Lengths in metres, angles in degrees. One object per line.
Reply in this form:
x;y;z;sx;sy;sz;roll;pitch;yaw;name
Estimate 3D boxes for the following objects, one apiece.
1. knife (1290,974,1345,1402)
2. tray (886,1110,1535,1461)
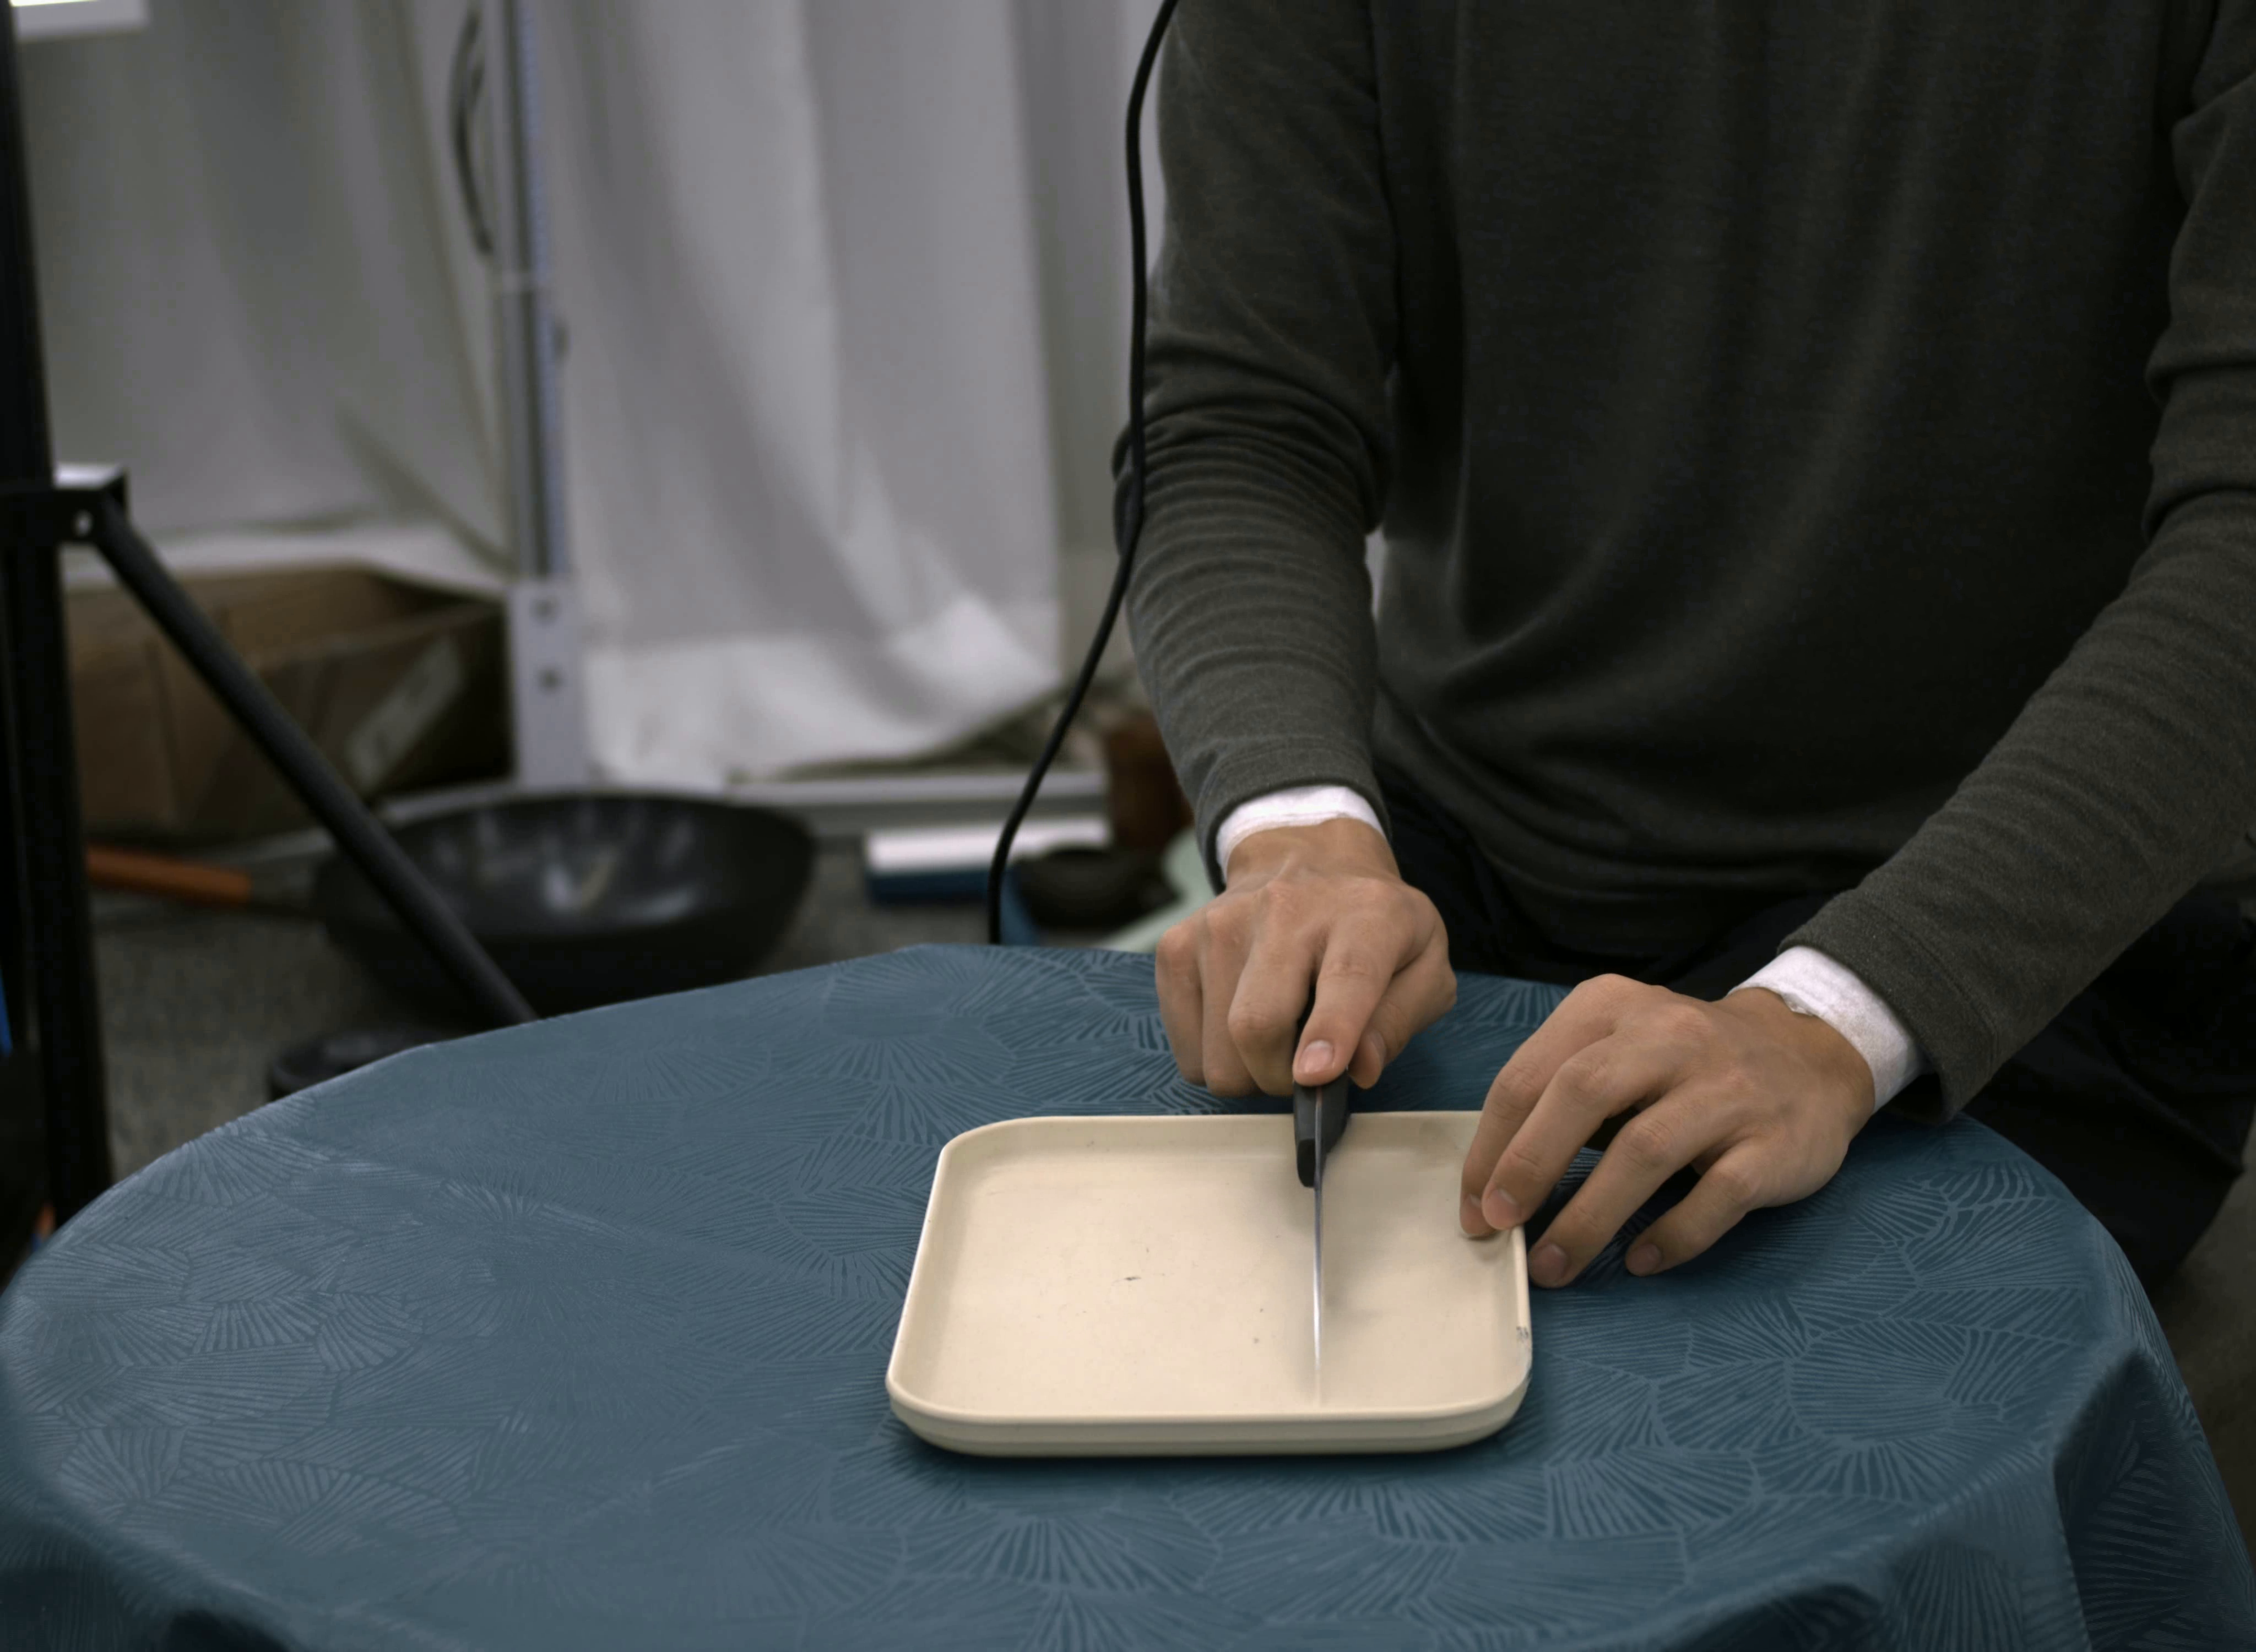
0.053;0.099;1.491;0.016;0.024;0.239;2;25;1;knife
0.025;0.126;1.464;0.171;0.017;0.240;-2;16;4;tray
